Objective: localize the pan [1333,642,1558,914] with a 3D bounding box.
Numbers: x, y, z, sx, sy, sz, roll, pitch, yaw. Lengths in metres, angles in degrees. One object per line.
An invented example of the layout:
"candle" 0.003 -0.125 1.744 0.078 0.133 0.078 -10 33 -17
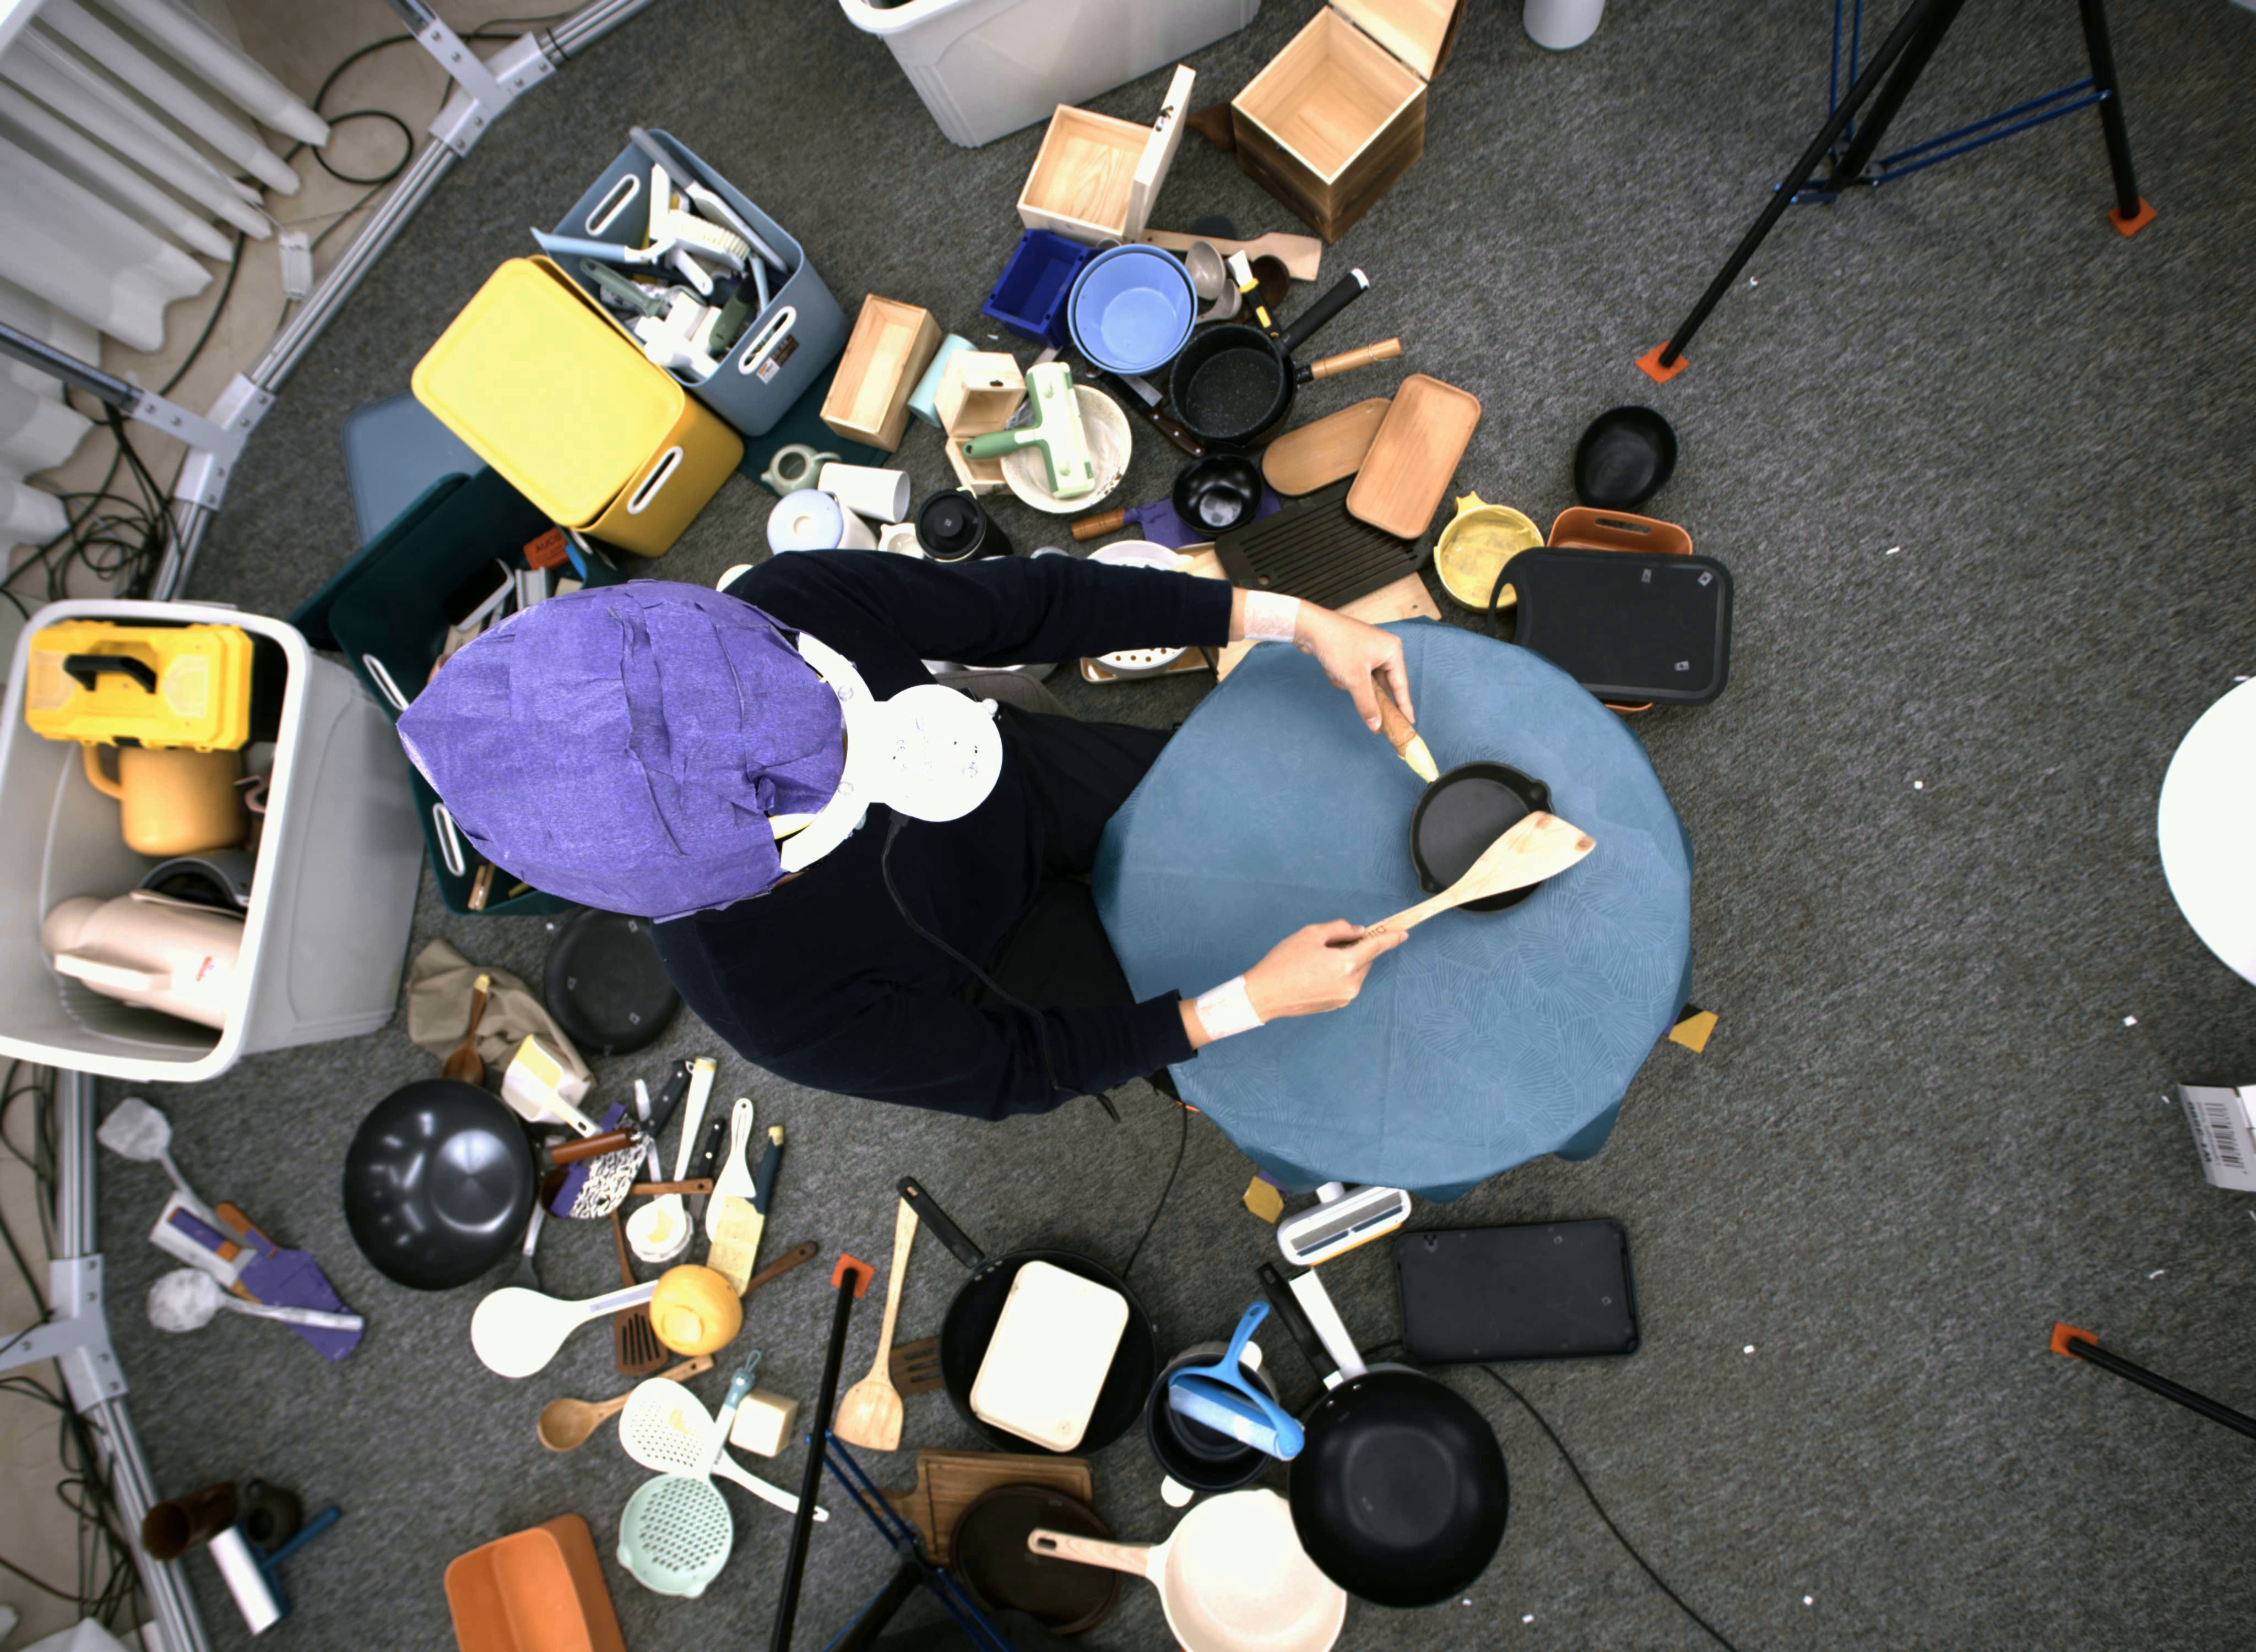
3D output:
"pan" 0.311 -0.057 1.400 0.169 0.049 0.325 -37 96 2

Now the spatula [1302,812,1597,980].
"spatula" 0.310 0.068 1.359 0.325 0.017 0.078 -26 41 -12
